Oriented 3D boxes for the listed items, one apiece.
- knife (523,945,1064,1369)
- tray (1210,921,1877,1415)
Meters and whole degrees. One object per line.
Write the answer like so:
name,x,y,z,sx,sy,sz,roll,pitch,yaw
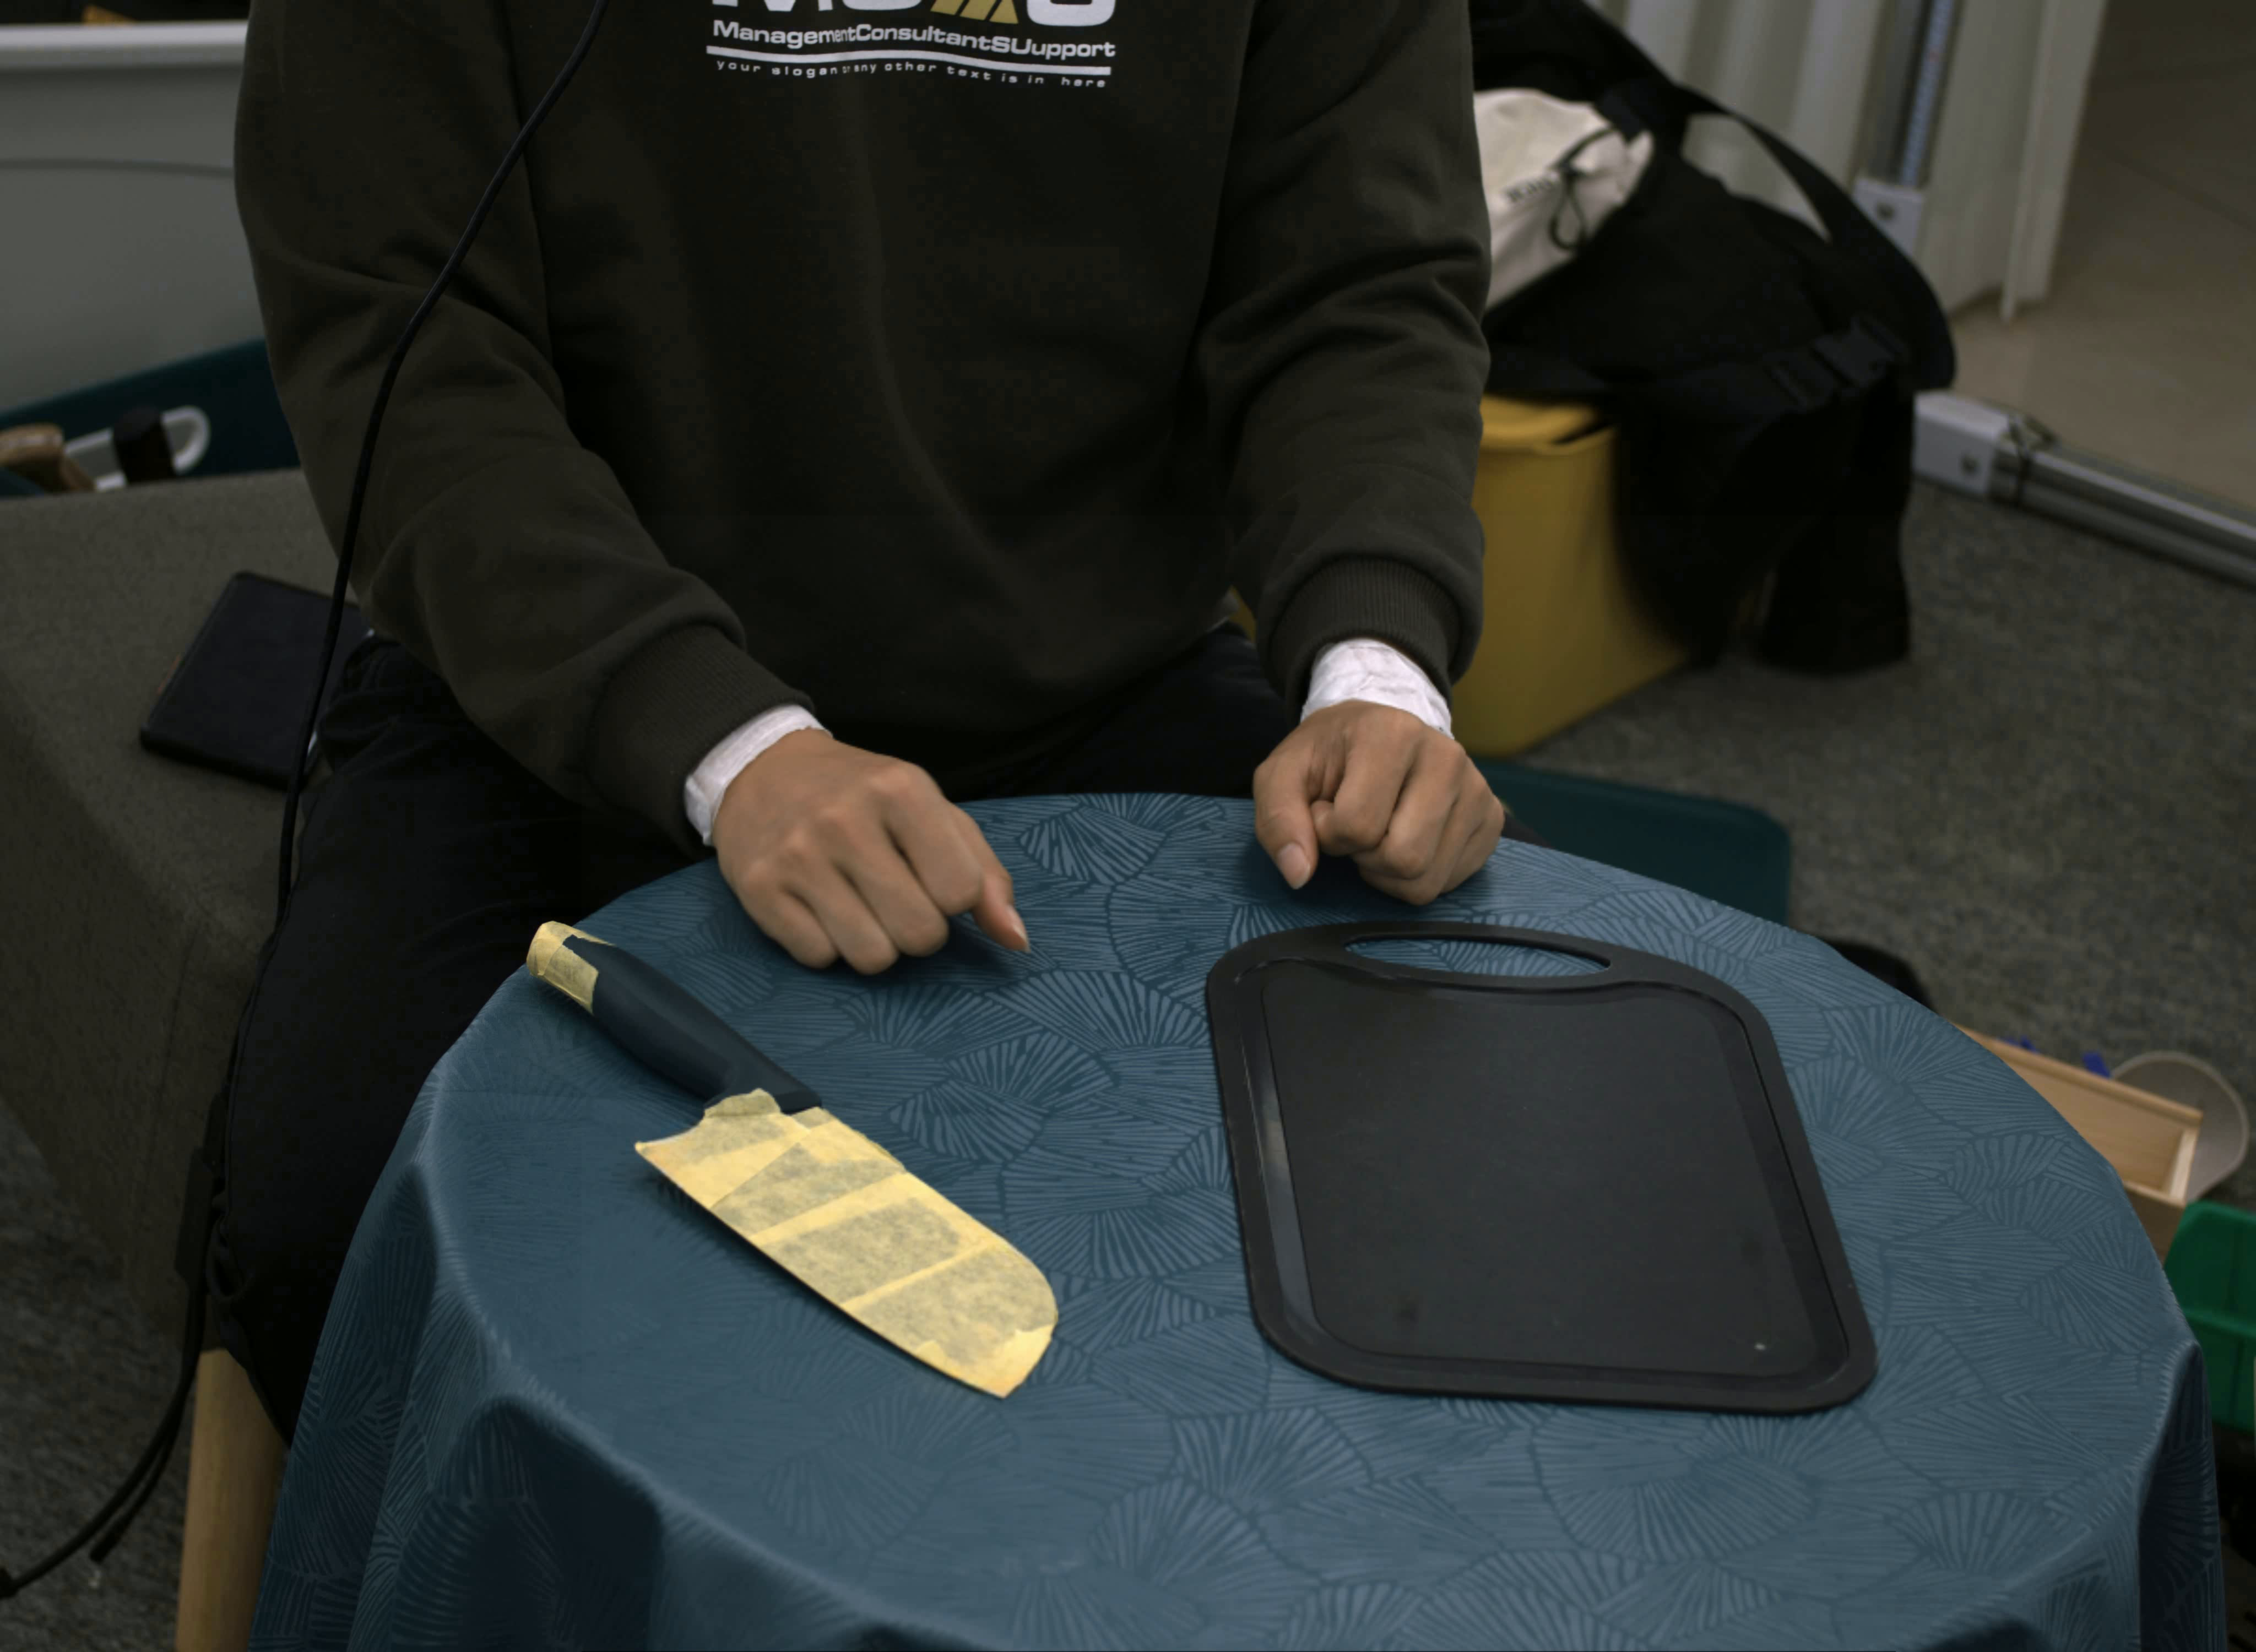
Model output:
knife,-0.123,0.111,1.787,0.080,0.027,0.292,-14,34,-39
tray,0.138,0.110,1.856,0.210,0.010,0.327,4,27,-5
